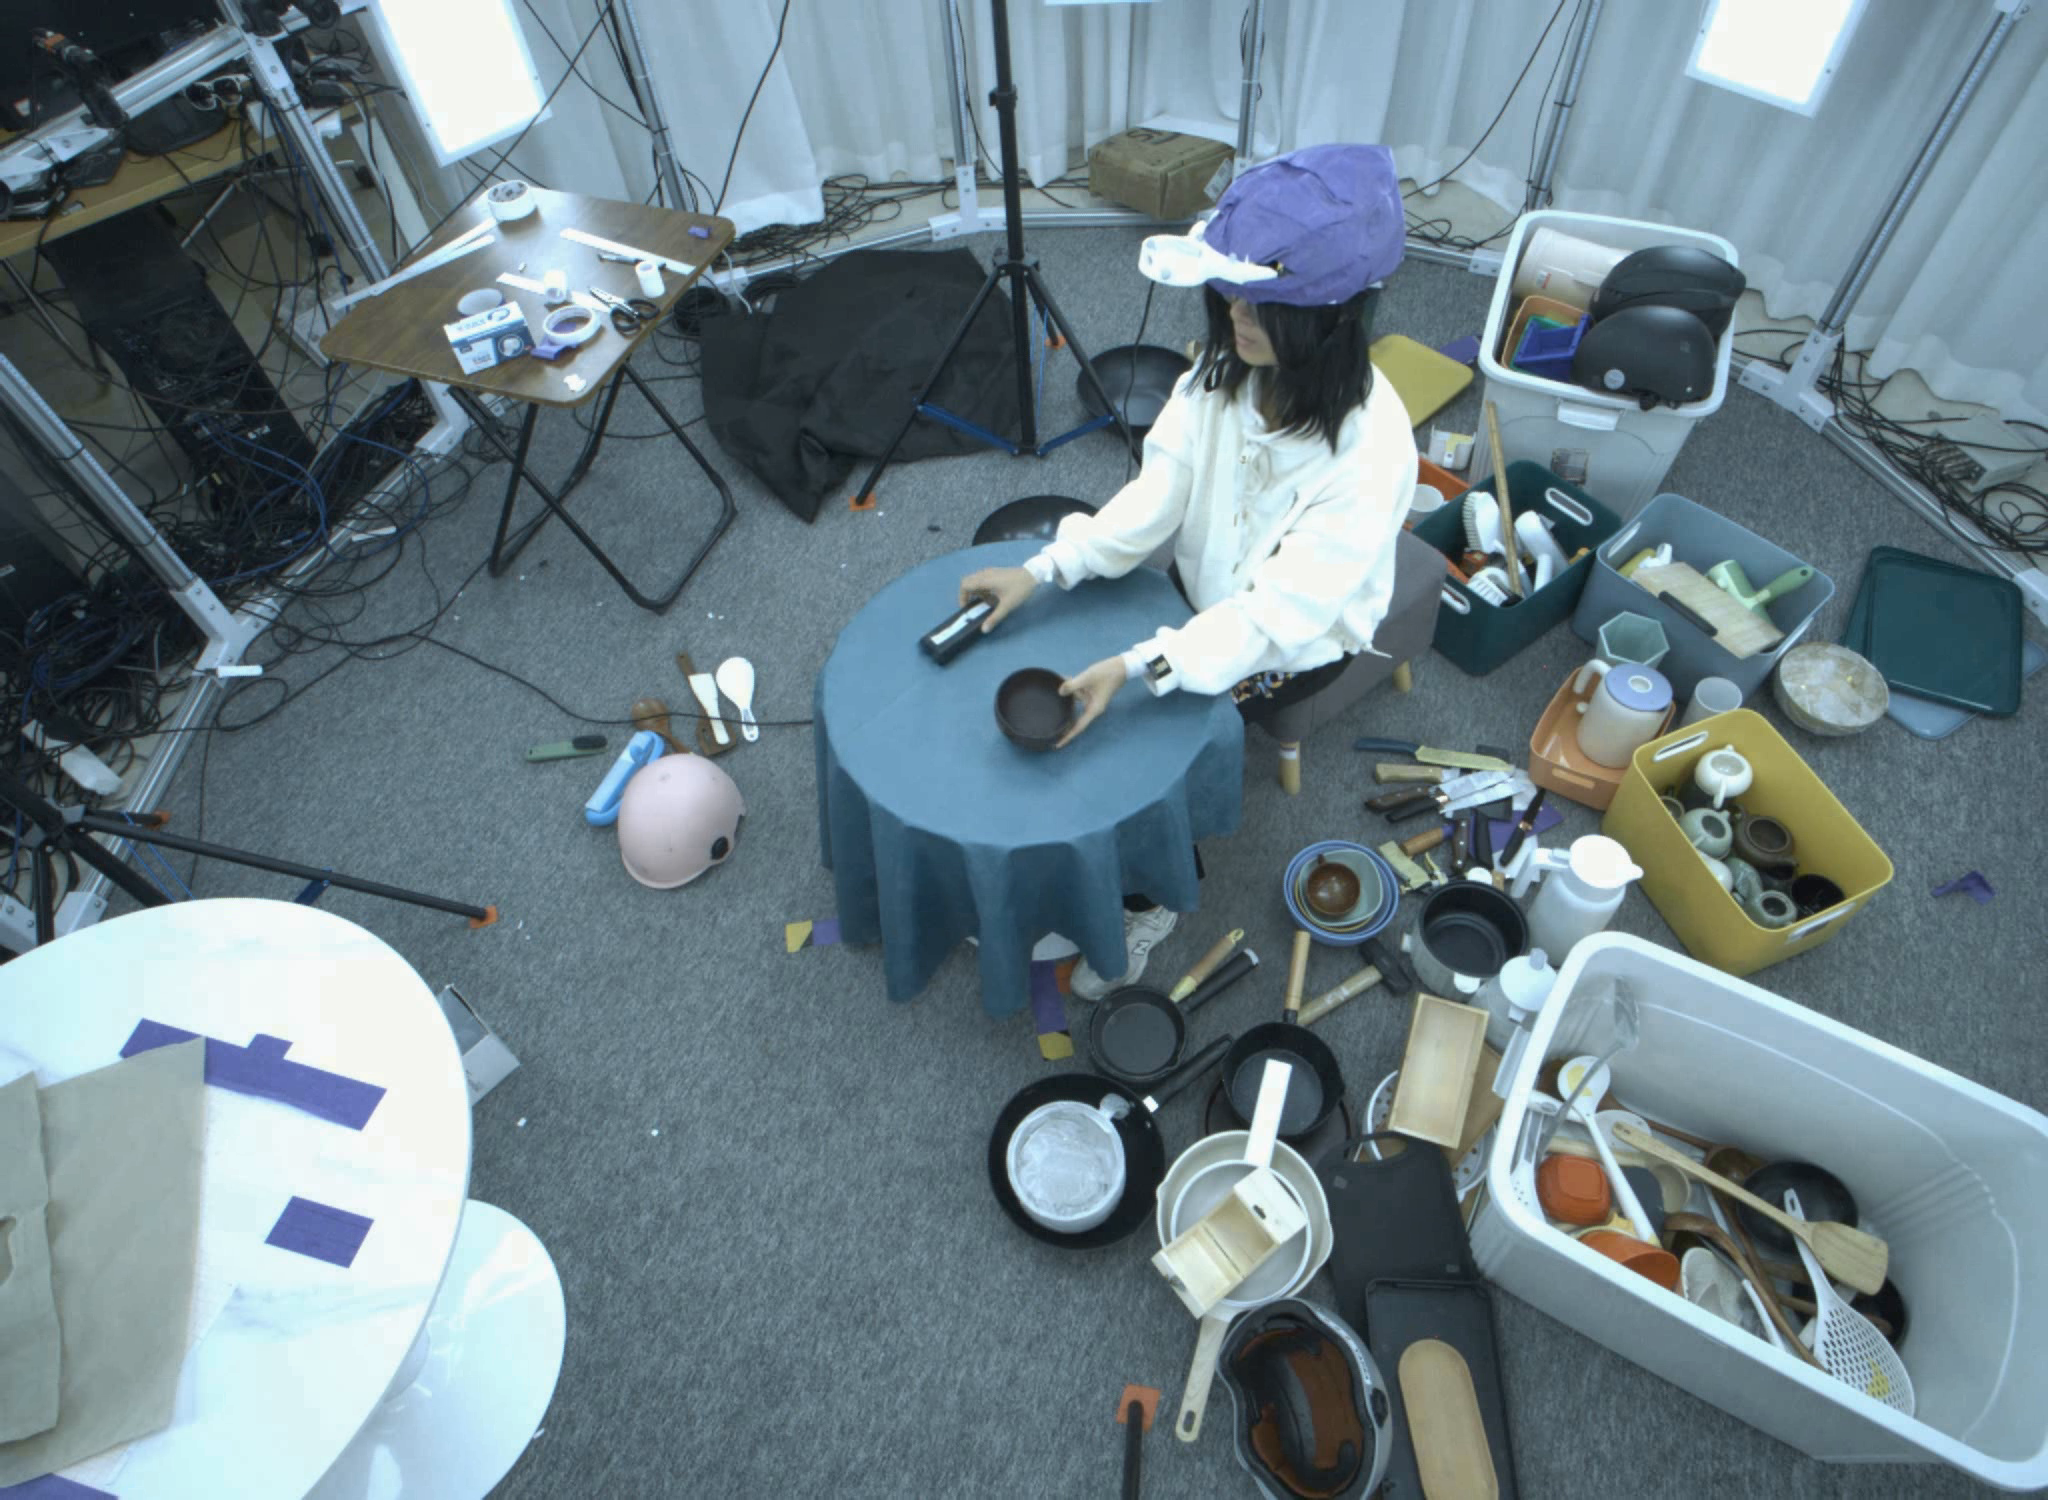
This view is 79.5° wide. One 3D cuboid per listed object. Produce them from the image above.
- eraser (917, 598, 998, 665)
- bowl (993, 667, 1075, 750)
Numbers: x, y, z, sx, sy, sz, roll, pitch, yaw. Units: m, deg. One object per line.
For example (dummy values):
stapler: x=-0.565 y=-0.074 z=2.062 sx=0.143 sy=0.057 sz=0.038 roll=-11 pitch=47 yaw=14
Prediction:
eraser: x=-0.103 y=-0.184 z=1.905 sx=0.126 sy=0.031 sz=0.052 roll=-39 pitch=61 yaw=-24
bowl: x=0.014 y=-0.053 z=1.772 sx=0.118 sy=0.070 sz=0.117 roll=2 pitch=65 yaw=-3
